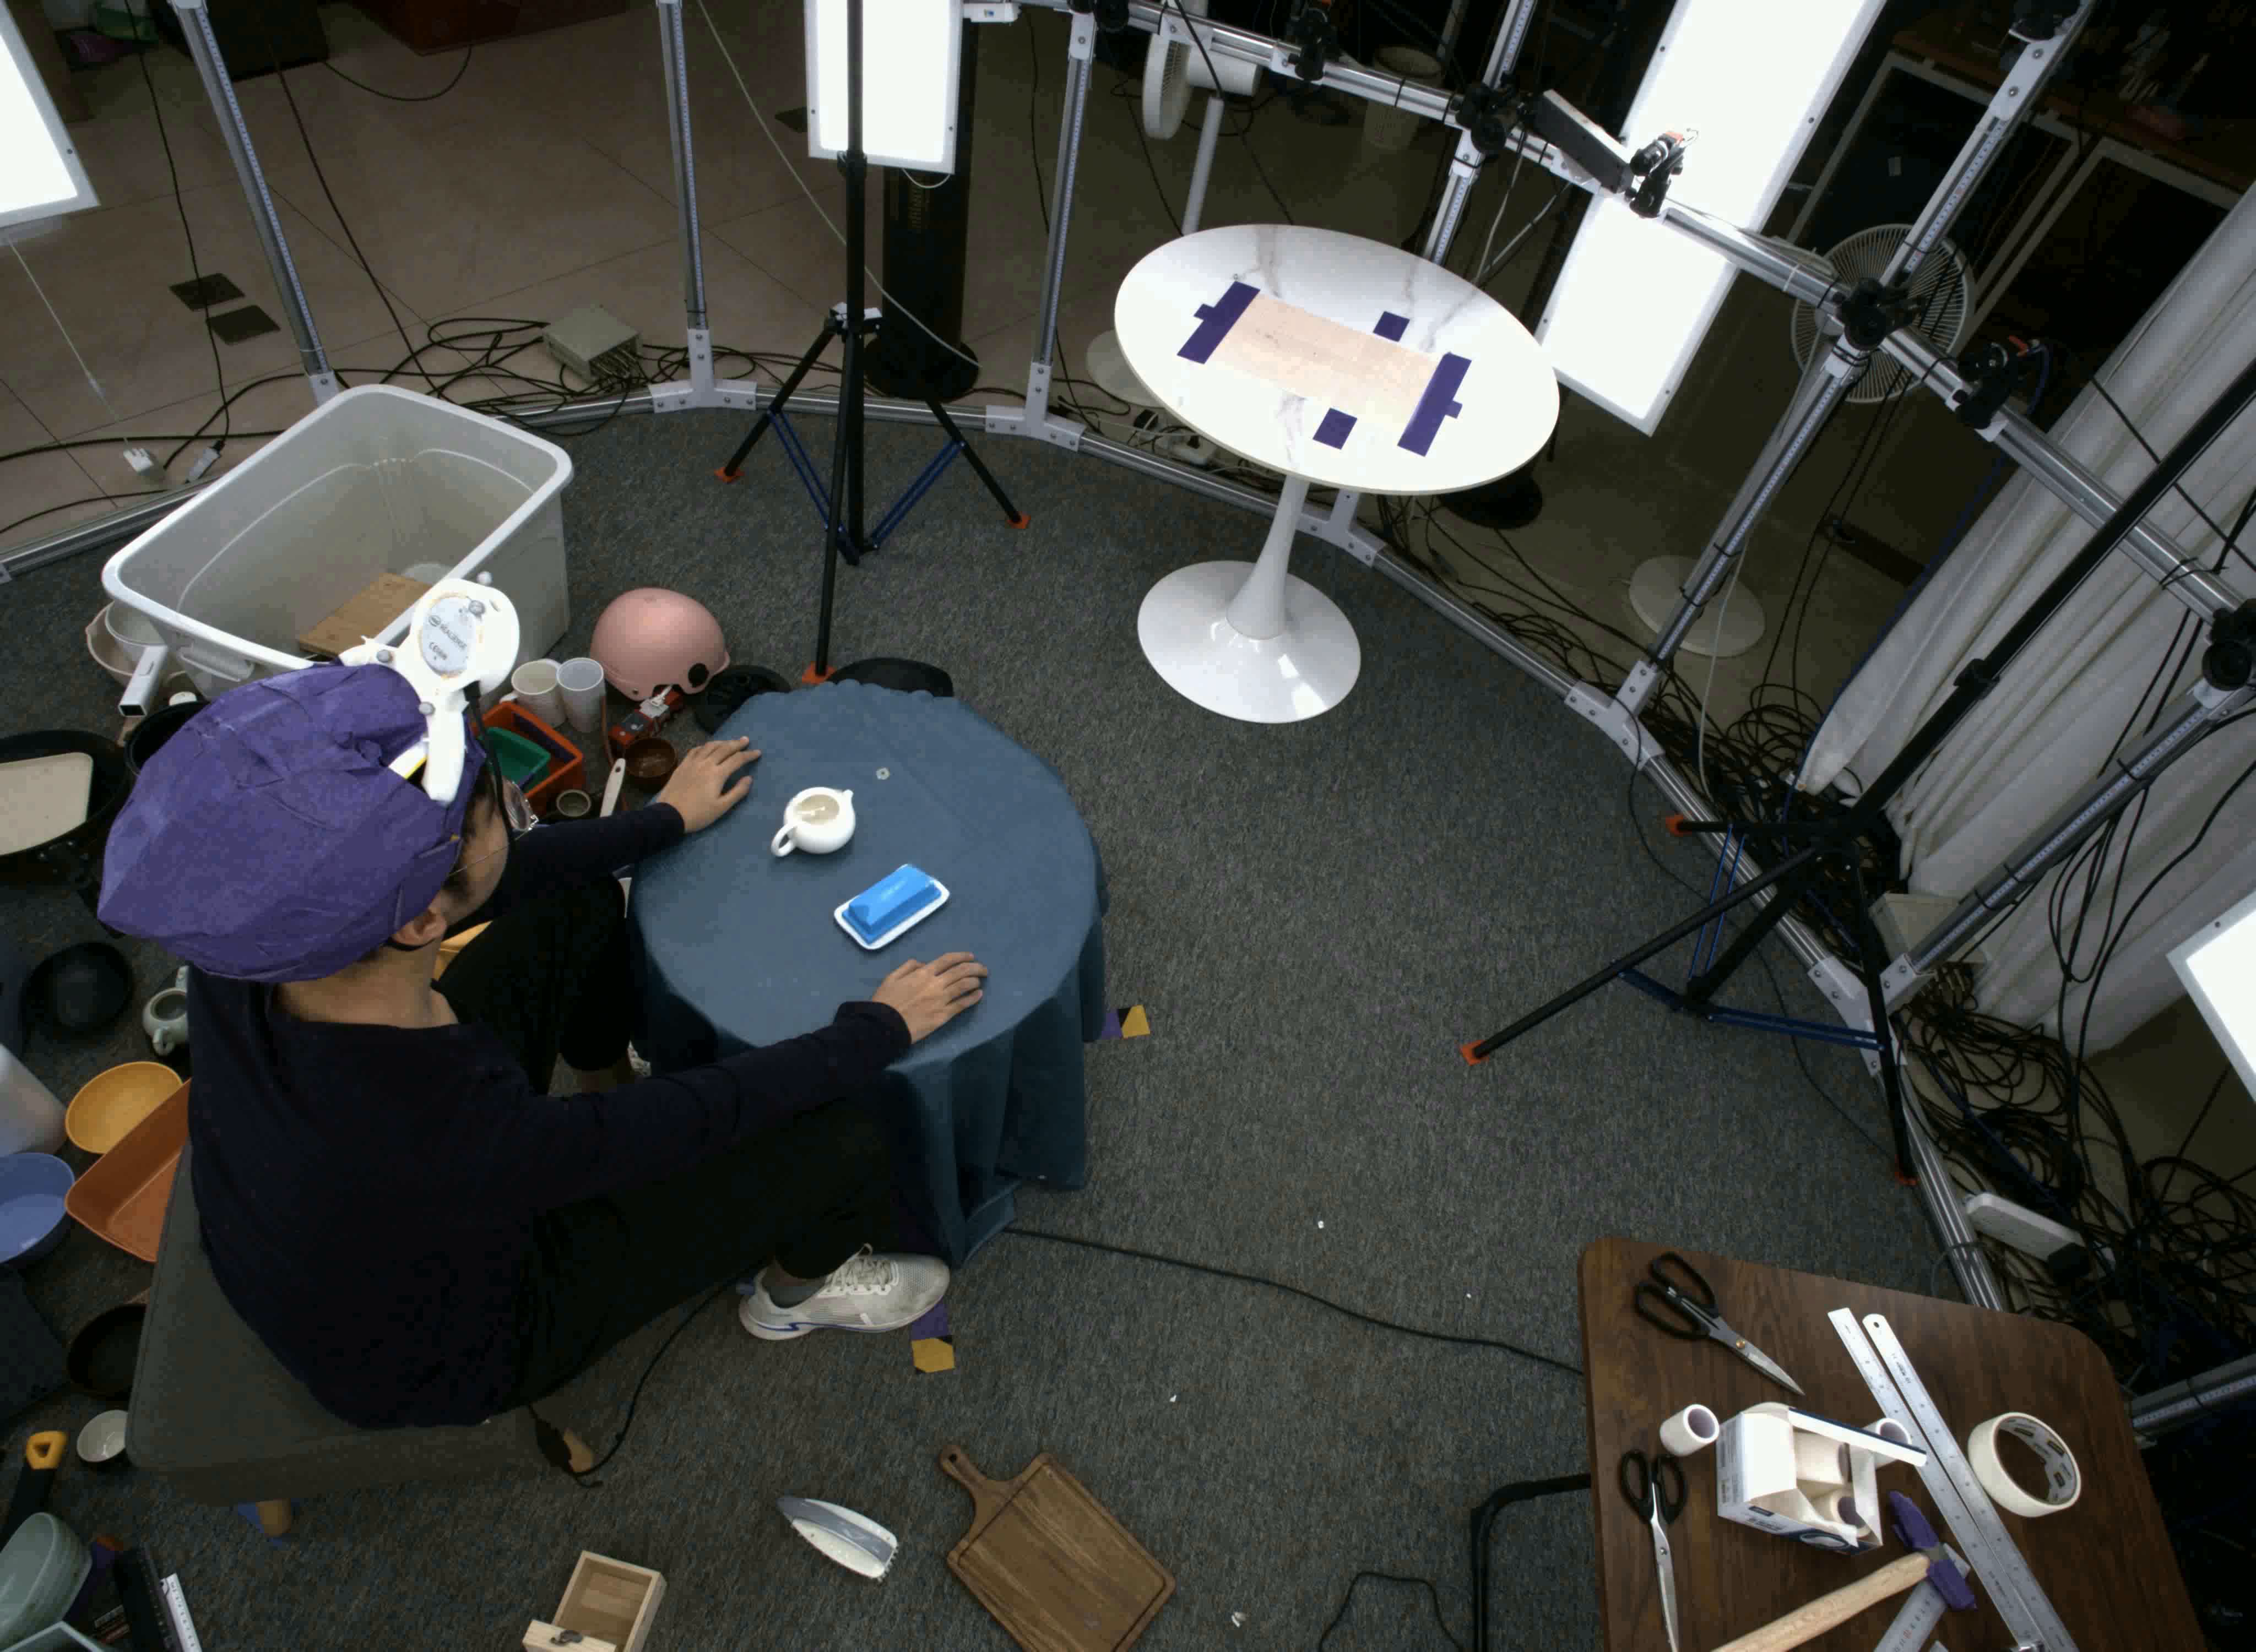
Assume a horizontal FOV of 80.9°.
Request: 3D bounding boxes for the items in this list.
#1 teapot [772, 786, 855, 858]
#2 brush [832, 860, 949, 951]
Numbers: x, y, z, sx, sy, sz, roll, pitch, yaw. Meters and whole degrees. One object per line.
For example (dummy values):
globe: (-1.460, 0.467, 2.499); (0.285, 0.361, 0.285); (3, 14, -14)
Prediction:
teapot: (-0.412, -0.002, 1.695); (0.092, 0.057, 0.127); (40, 56, 14)
brush: (-0.301, 0.092, 1.648); (0.144, 0.057, 0.081); (-33, 63, -34)
